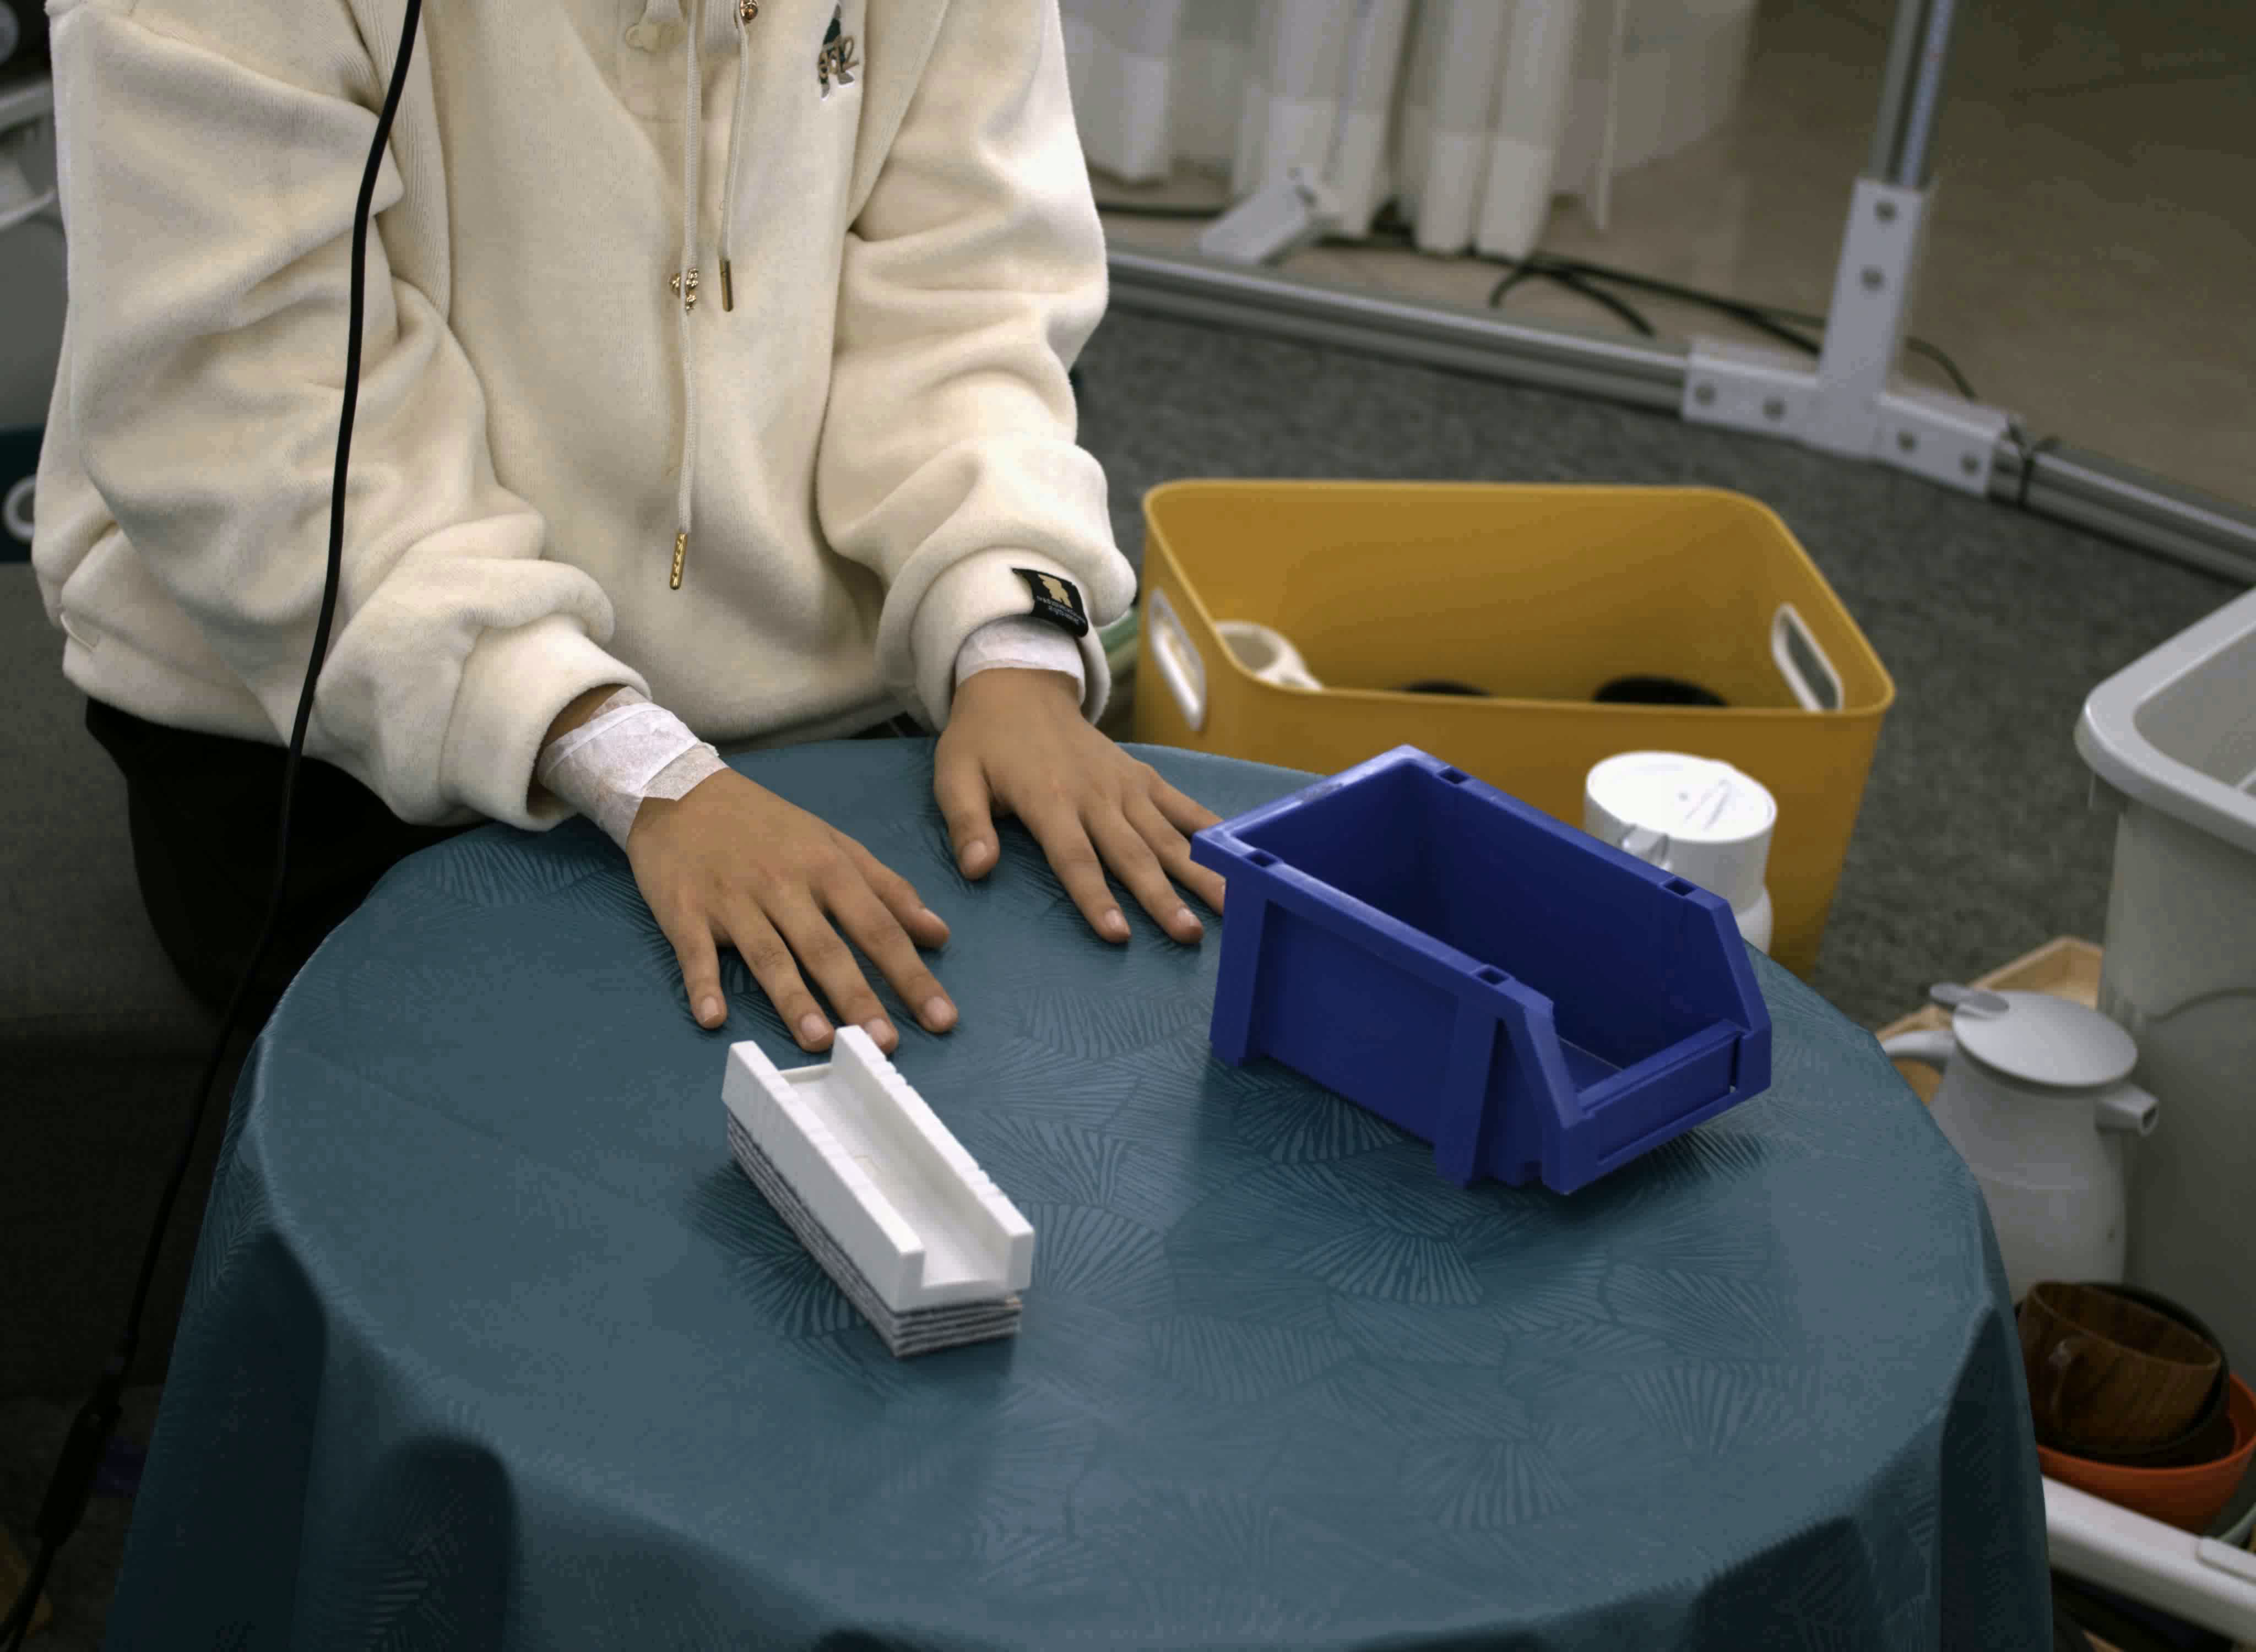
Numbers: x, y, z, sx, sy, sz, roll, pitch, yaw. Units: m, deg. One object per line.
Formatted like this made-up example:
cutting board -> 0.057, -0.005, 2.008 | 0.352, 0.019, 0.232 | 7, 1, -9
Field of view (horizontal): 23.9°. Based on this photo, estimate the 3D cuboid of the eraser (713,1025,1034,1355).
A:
eraser -> -0.085, 0.118, 1.741 | 0.049, 0.046, 0.135 | -11, 33, -28

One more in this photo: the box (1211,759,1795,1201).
box -> 0.132, 0.058, 1.871 | 0.181, 0.081, 0.124 | 26, 33, 37
